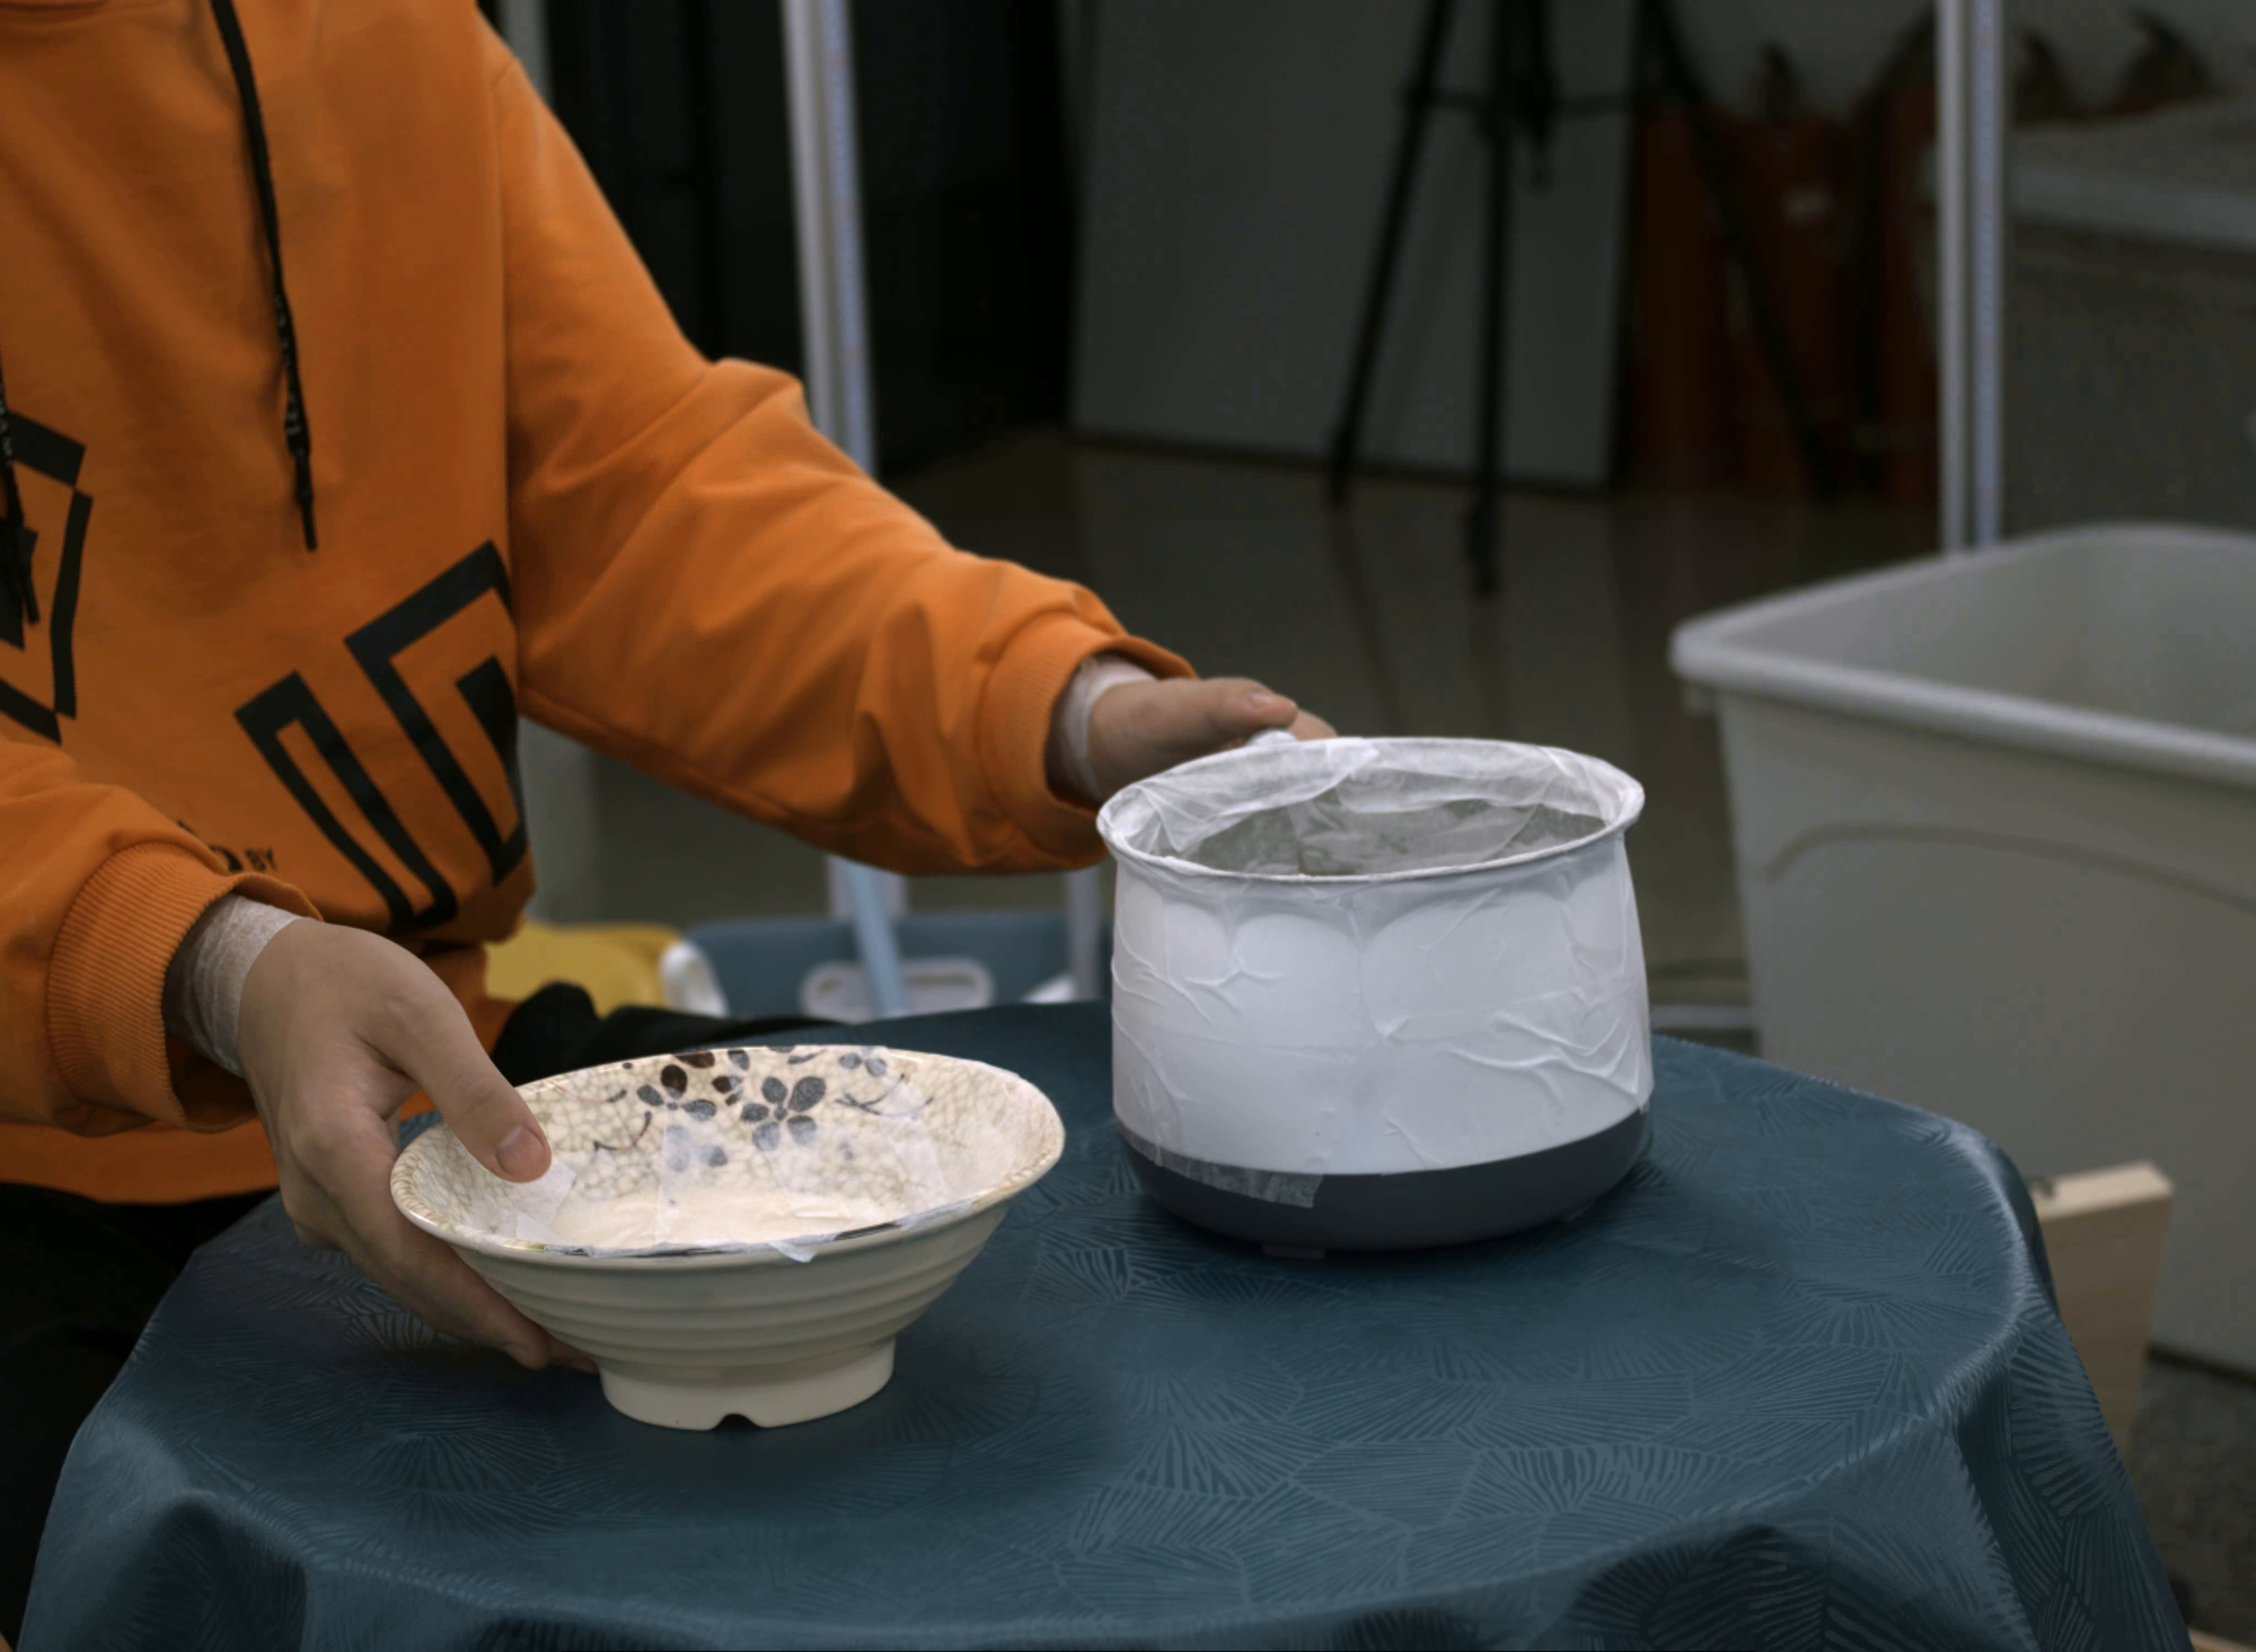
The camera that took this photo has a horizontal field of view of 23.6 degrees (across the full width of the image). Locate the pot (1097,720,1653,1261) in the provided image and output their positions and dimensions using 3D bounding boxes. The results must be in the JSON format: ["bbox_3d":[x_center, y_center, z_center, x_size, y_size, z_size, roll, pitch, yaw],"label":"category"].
[{"bbox_3d":[0.072,0.047,1.760,0.175,0.138,0.236,-8,14,-16],"label":"pot"}]

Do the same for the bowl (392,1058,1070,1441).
[{"bbox_3d":[-0.114,0.132,1.606,0.201,0.079,0.204,-6,12,0],"label":"bowl"}]
